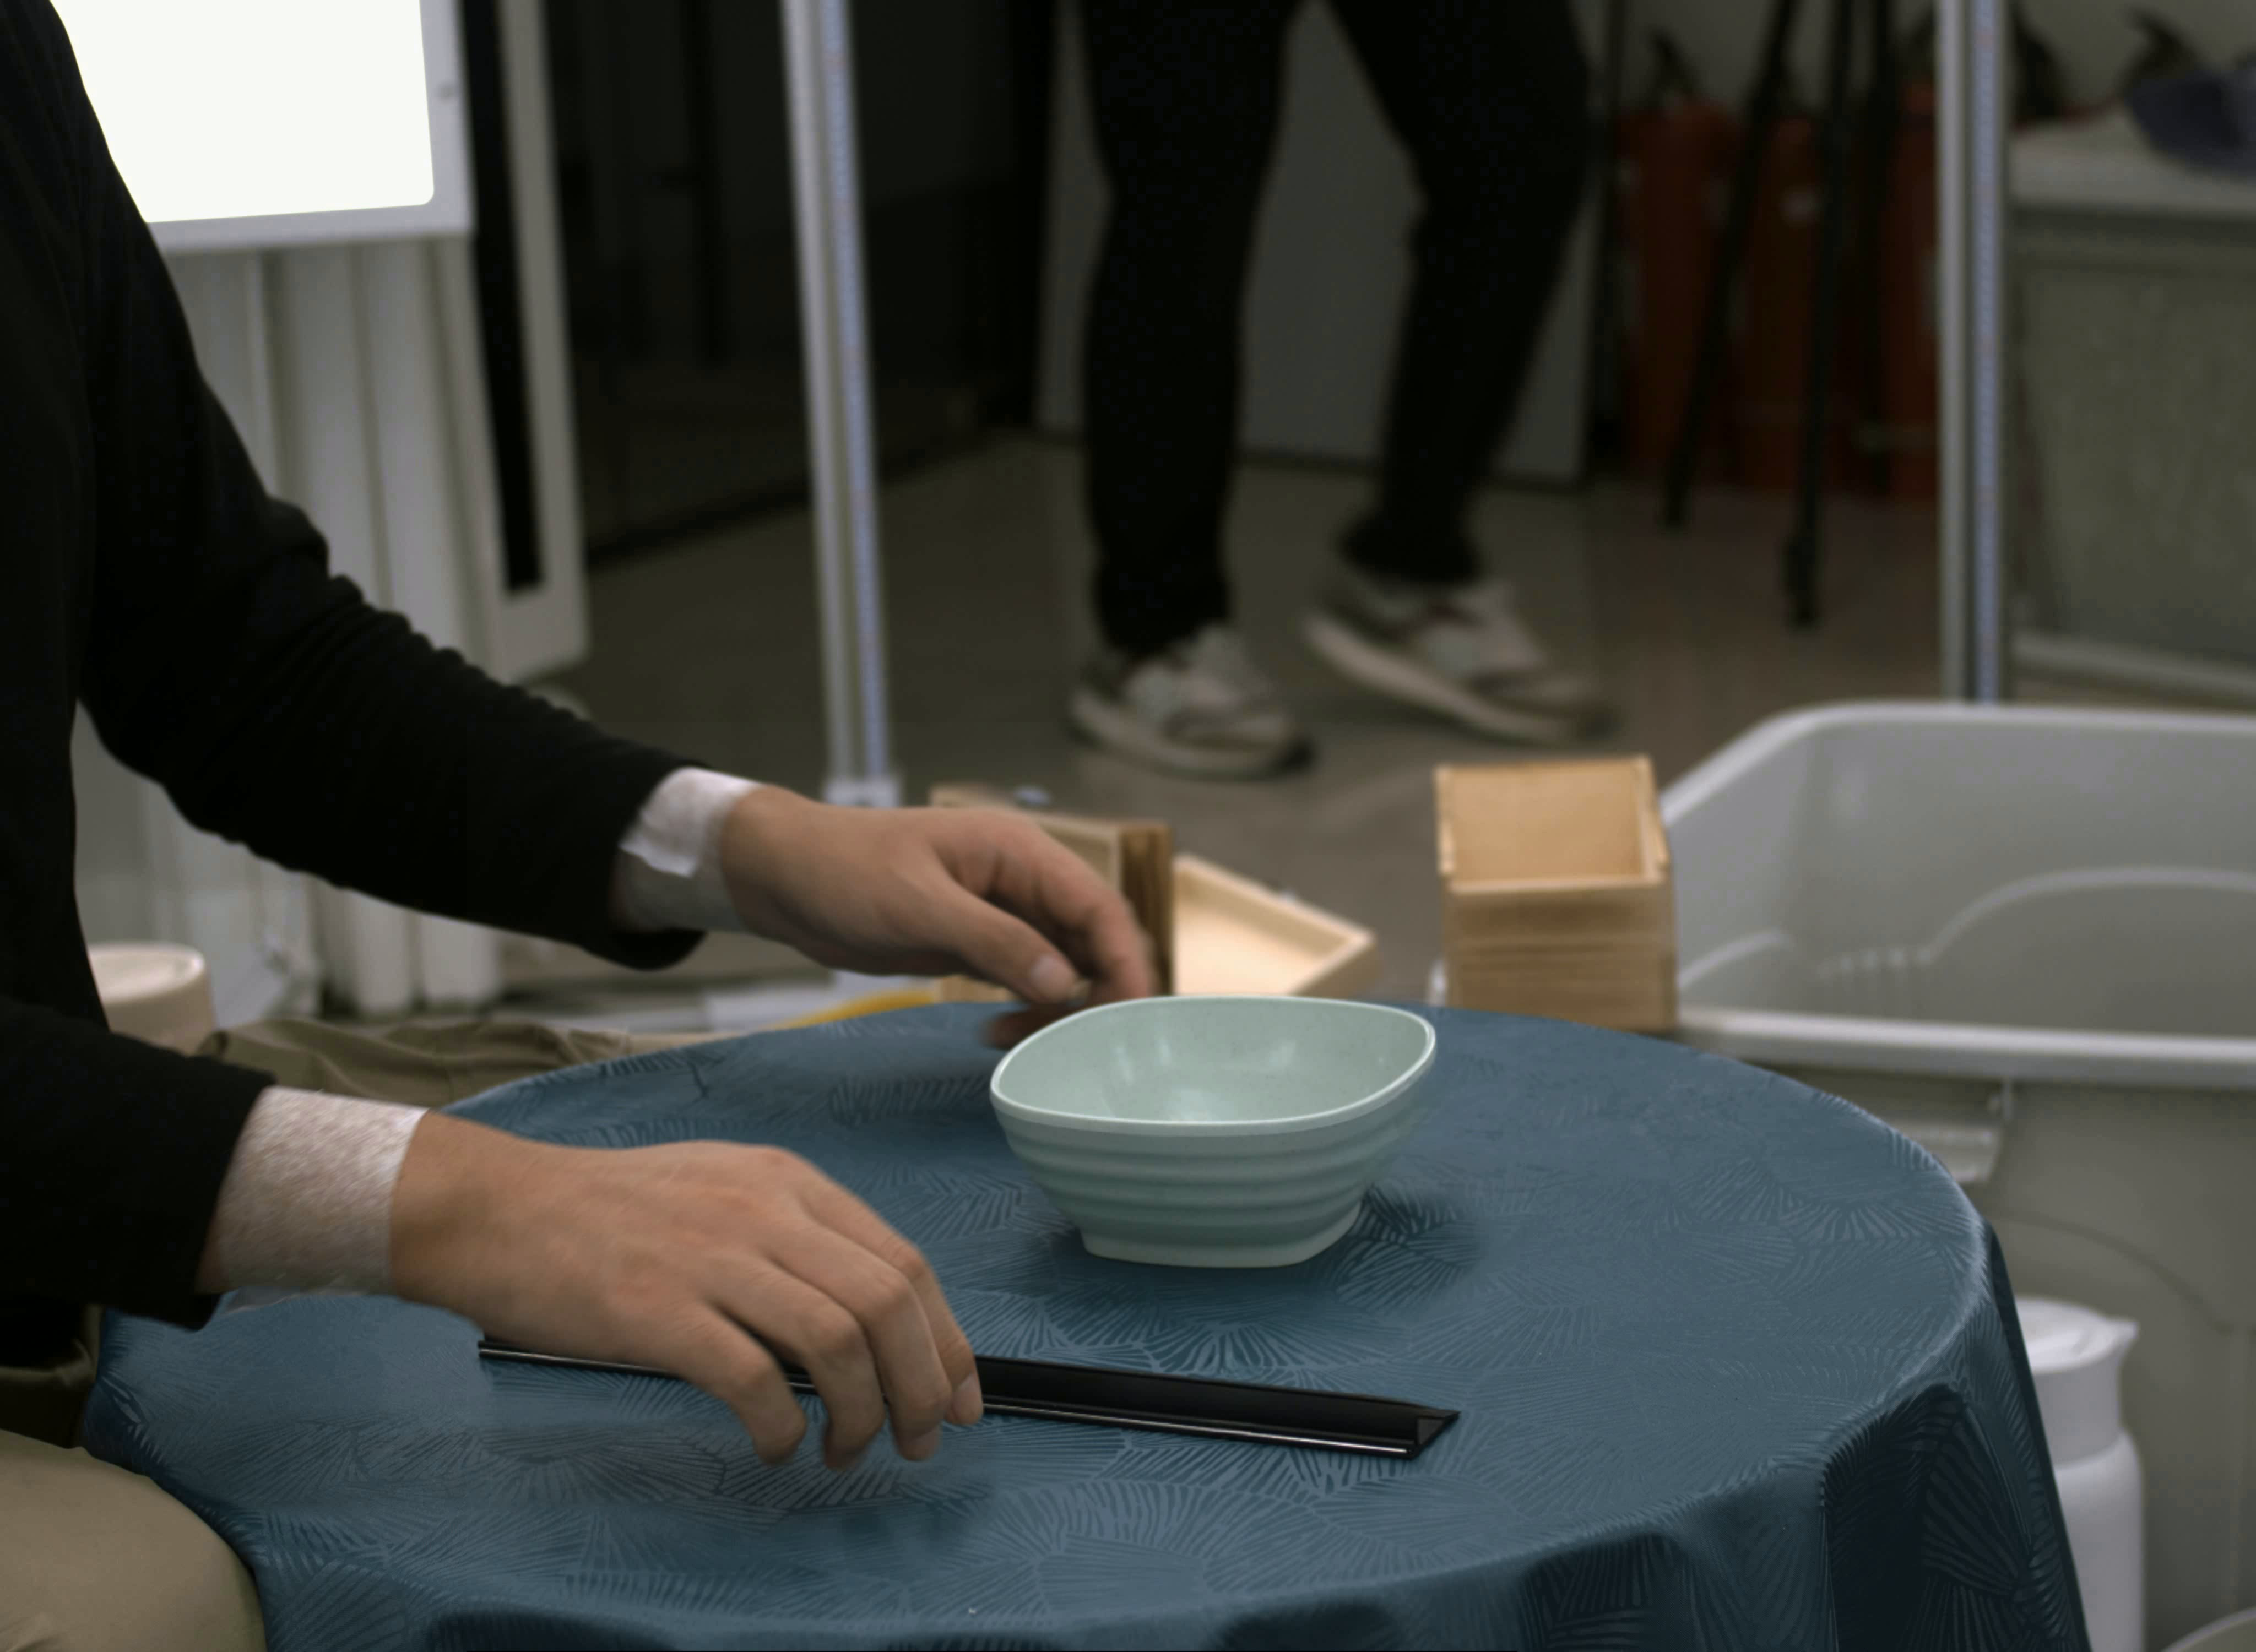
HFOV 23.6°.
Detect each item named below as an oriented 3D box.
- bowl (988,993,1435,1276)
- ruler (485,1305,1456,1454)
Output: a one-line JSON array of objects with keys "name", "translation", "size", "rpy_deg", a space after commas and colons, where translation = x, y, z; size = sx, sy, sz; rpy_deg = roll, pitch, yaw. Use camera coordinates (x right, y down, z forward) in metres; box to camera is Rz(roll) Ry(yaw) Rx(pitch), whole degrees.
[{"name": "bowl", "translation": [0.028, 0.102, 1.724], "size": [0.149, 0.059, 0.152], "rpy_deg": [-3, 15, 0]}, {"name": "ruler", "translation": [-0.050, 0.159, 1.598], "size": [0.313, 0.017, 0.039], "rpy_deg": [3, 11, 27]}]
